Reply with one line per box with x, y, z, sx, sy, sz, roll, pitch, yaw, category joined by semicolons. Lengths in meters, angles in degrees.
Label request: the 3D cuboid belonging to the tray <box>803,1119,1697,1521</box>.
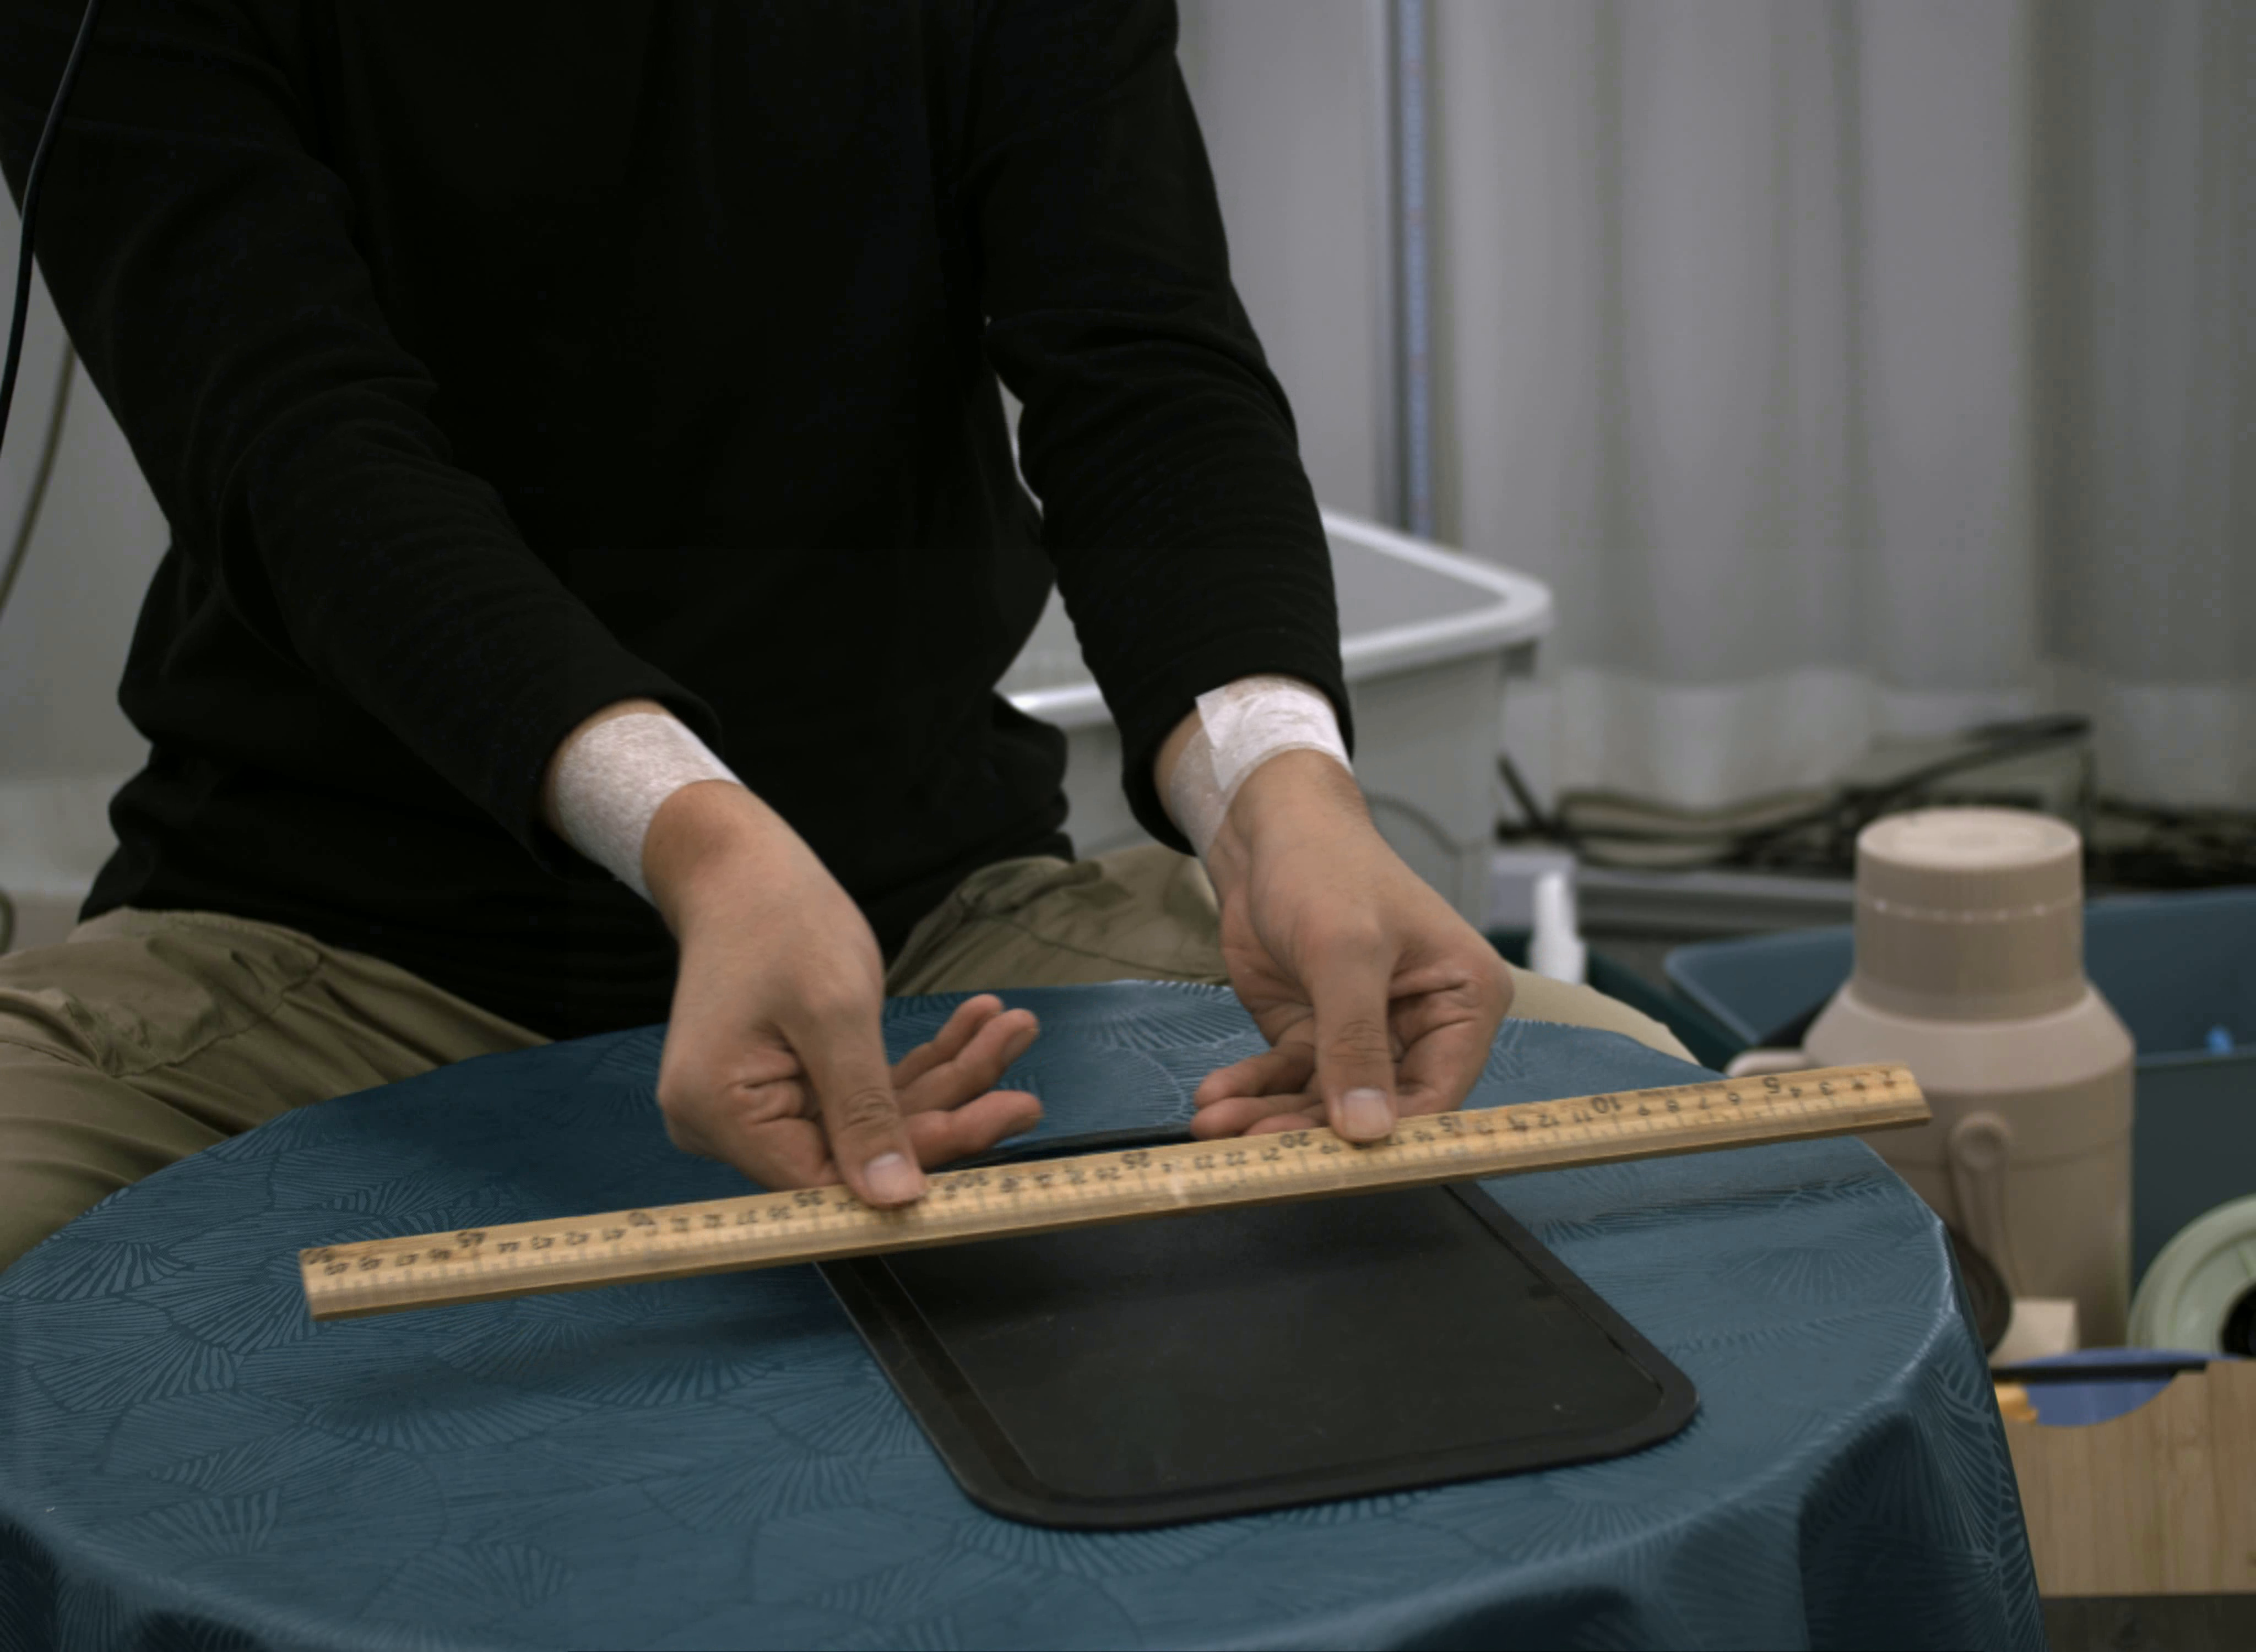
0.025;0.137;1.608;0.210;0.010;0.328;-6;15;-13;tray

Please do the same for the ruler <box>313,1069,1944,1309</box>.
0.008;0.106;1.627;0.498;0.006;0.027;-5;45;-14;ruler
